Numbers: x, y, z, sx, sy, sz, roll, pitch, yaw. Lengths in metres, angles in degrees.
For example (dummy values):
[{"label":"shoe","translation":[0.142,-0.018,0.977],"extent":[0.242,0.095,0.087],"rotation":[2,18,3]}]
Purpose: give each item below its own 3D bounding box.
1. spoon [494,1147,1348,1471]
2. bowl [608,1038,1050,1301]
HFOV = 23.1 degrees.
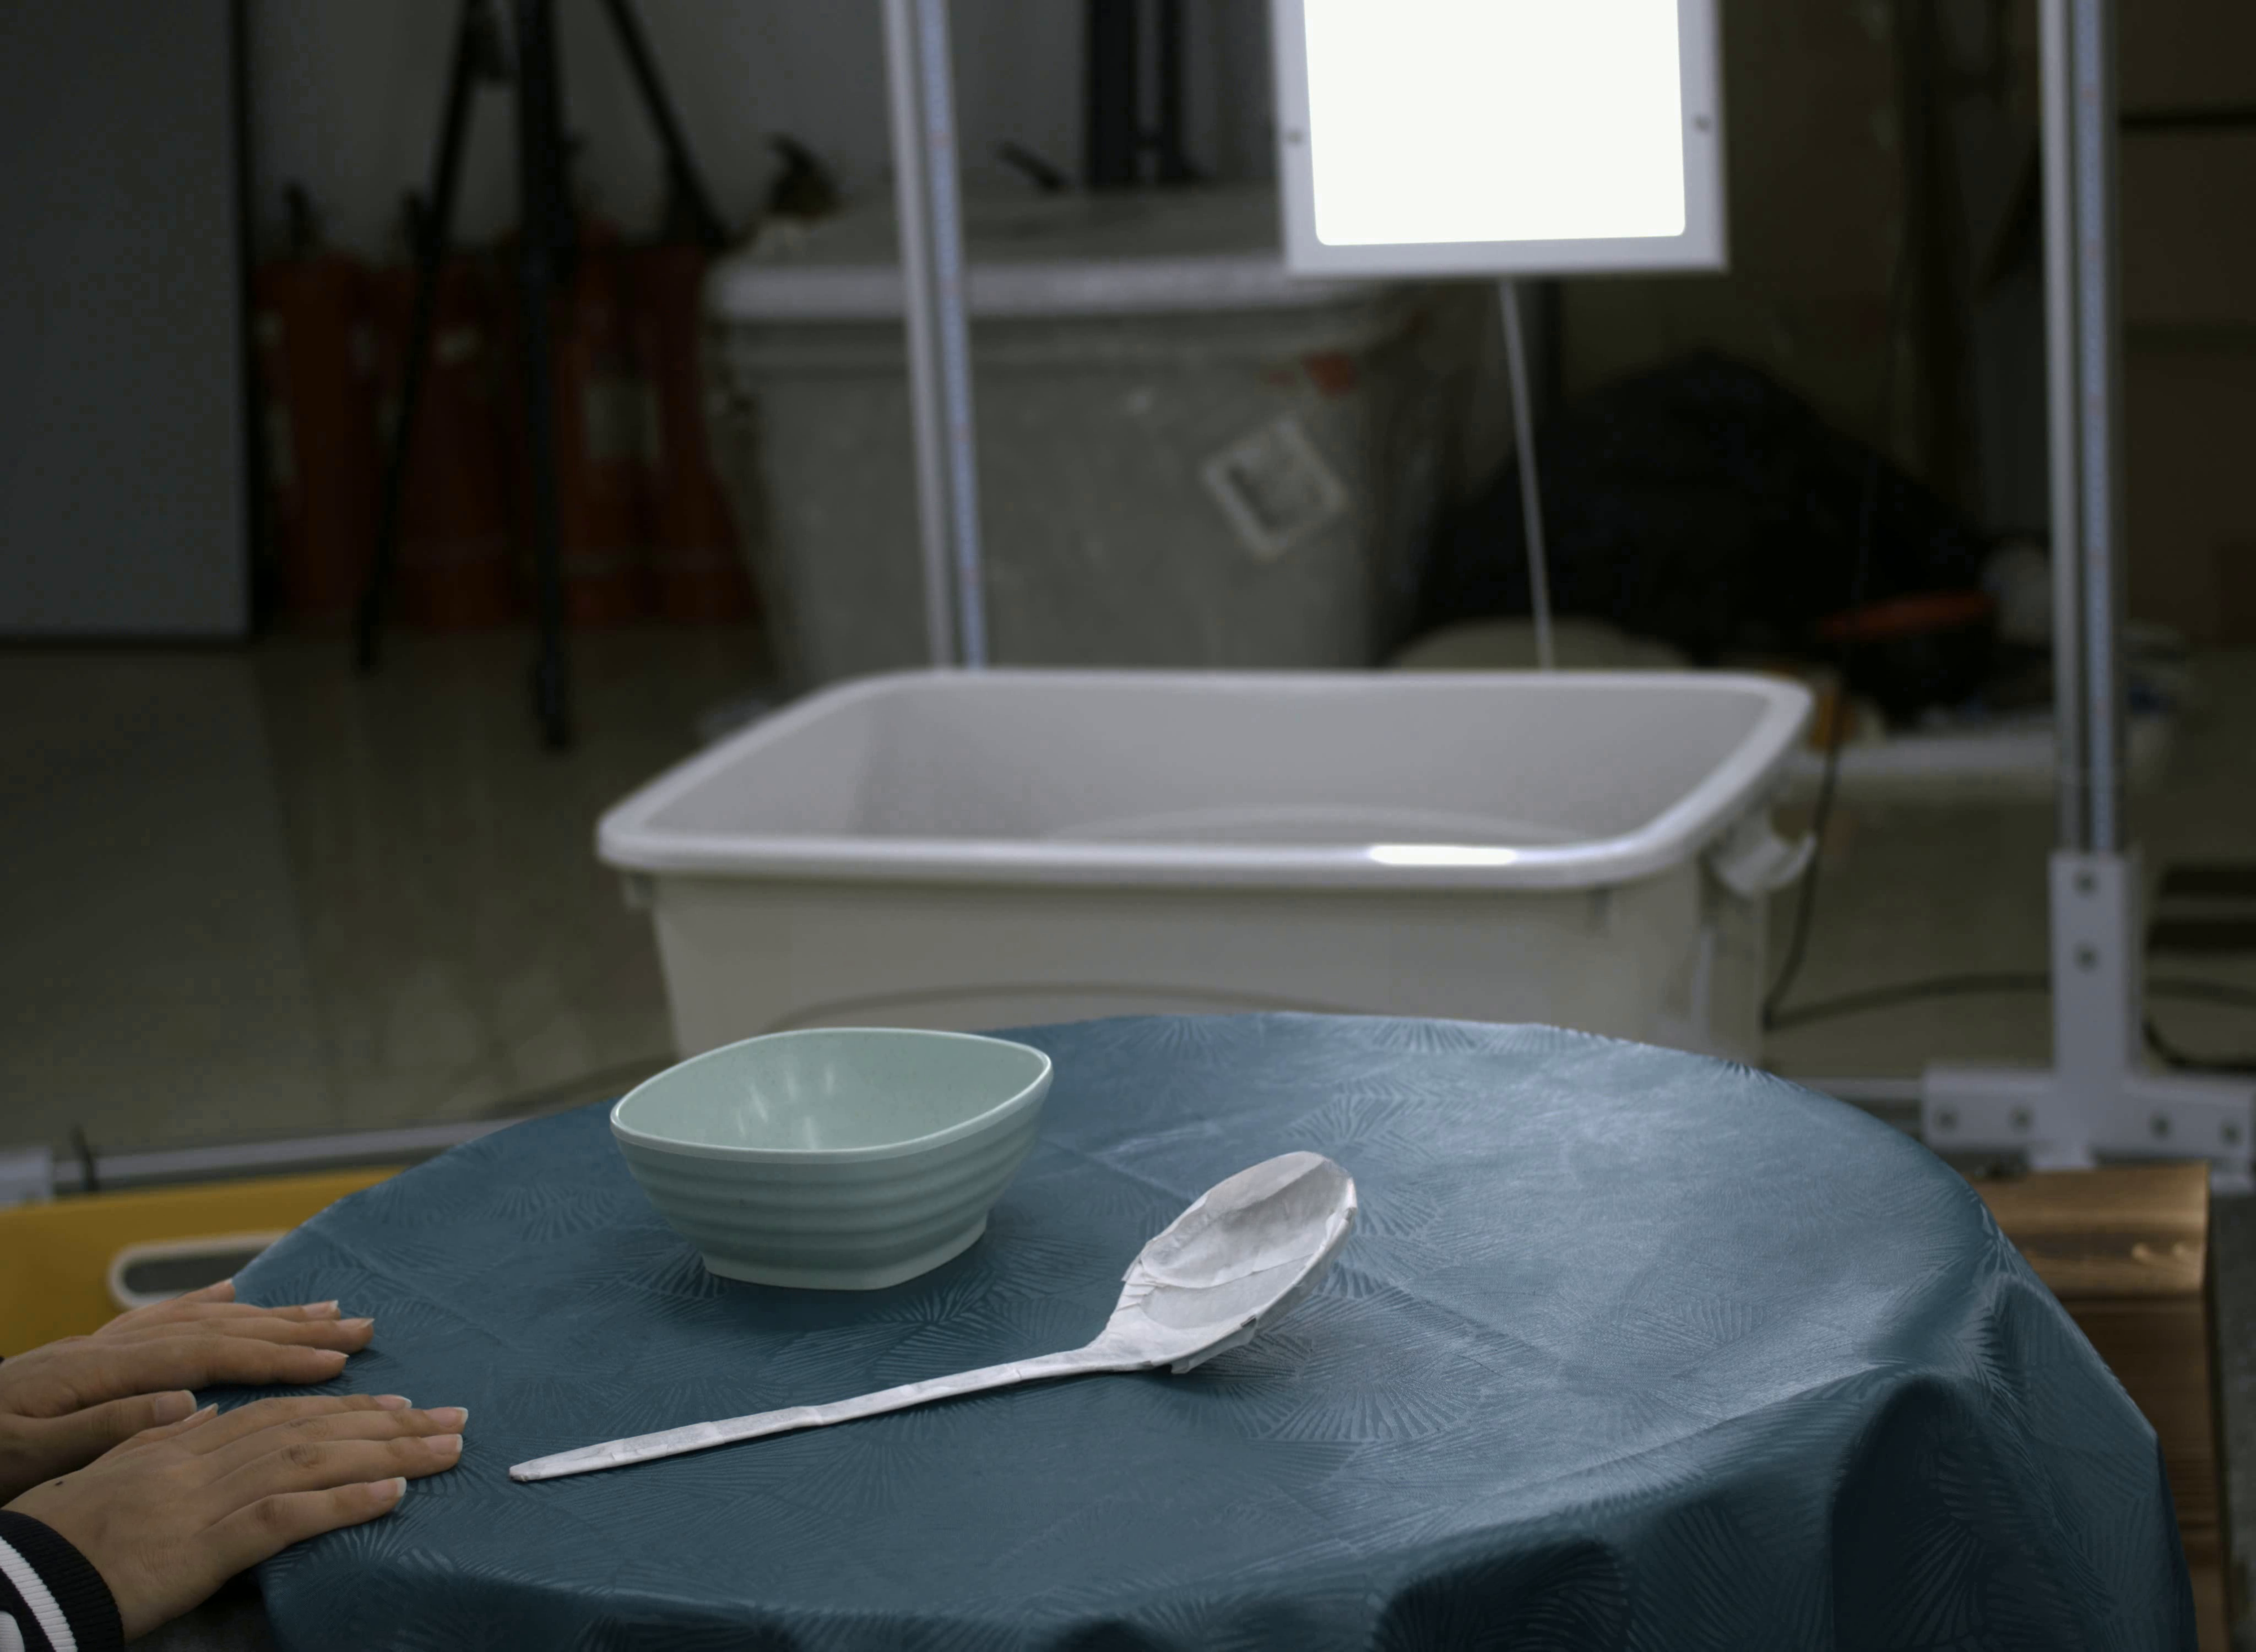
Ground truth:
[{"label":"spoon","translation":[-0.064,0.148,1.712],"extent":[0.274,0.059,0.101],"rotation":[-8,9,-12]},{"label":"bowl","translation":[-0.098,0.119,1.858],"extent":[0.151,0.059,0.151],"rotation":[-5,14,0]}]
